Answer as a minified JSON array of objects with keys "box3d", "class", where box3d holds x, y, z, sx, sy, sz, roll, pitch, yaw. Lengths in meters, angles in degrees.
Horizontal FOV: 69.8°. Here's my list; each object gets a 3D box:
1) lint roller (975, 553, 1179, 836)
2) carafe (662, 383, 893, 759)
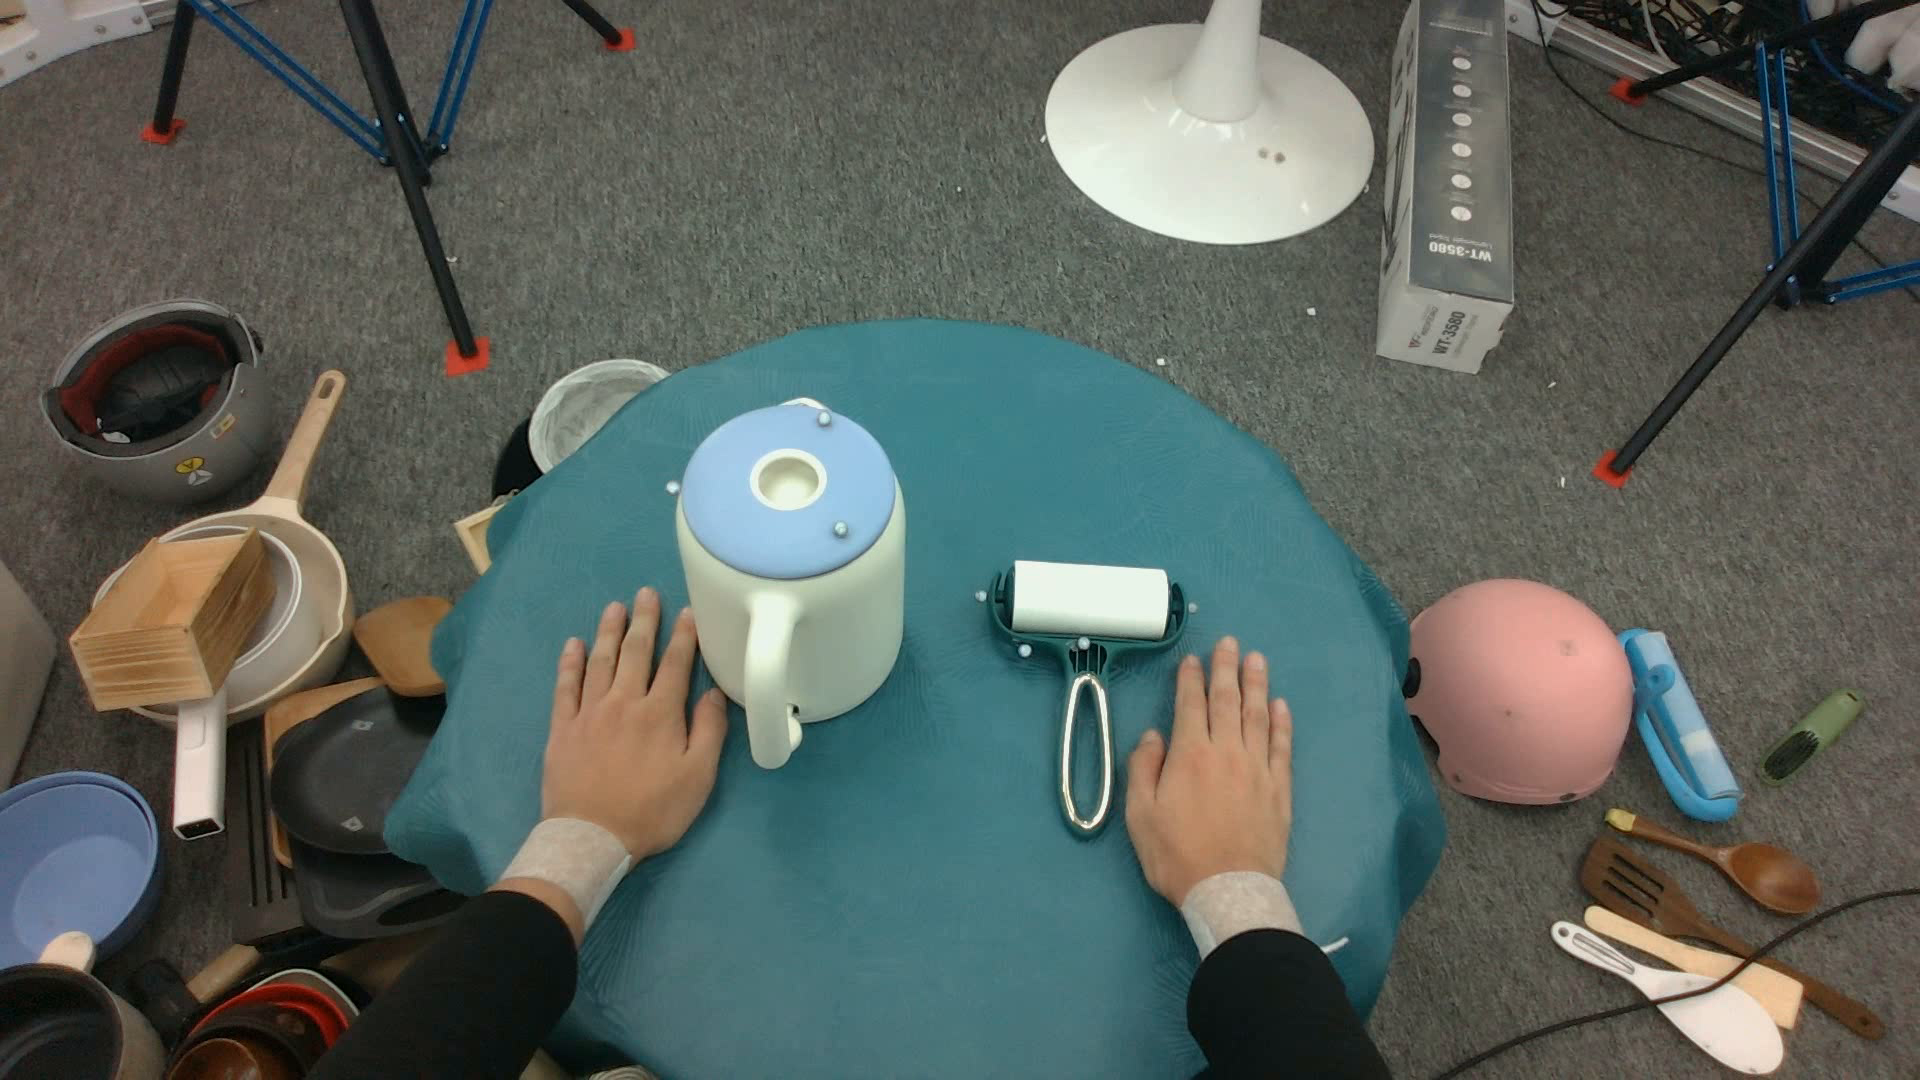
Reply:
[{"box3d":[0.073,0.092,0.865,0.134,0.048,0.181,4,58,-2],"class":"lint roller"},{"box3d":[-0.108,0.031,0.814,0.132,0.181,0.192,3,58,-1],"class":"carafe"}]
